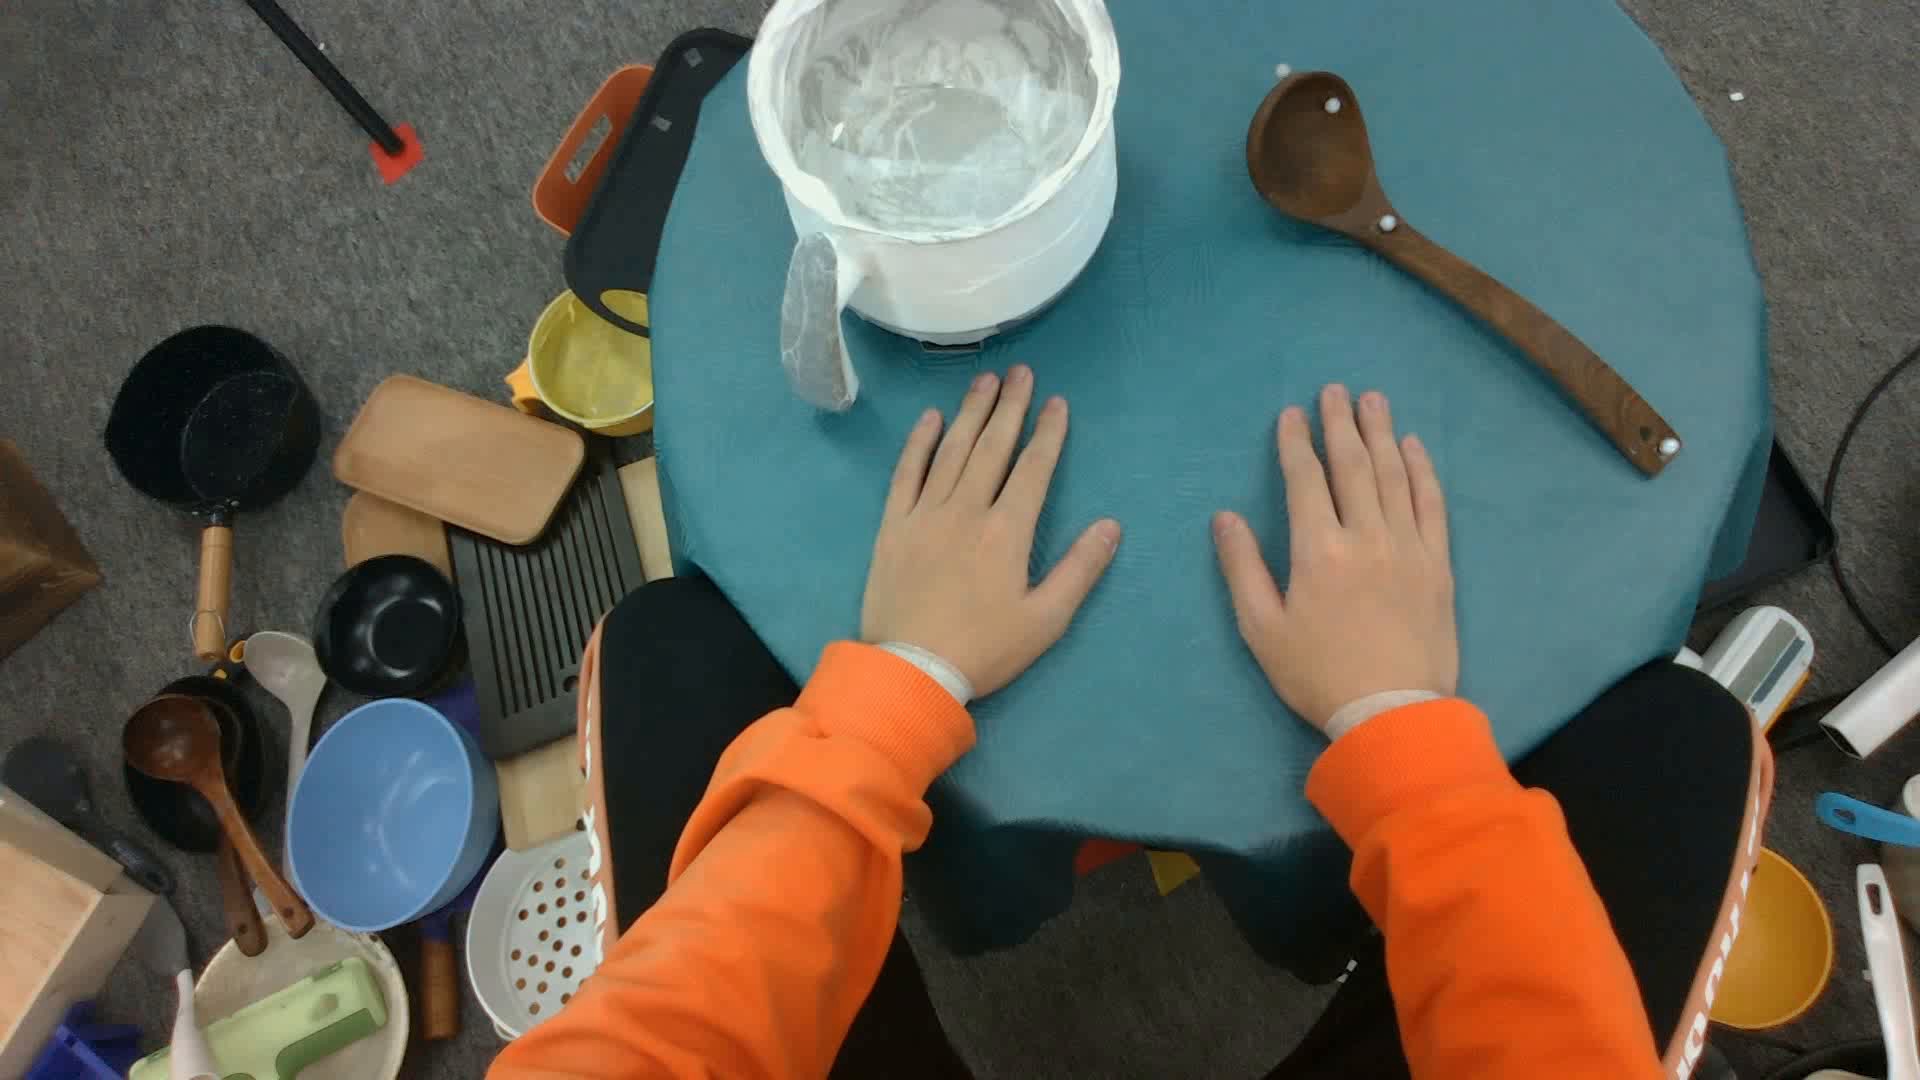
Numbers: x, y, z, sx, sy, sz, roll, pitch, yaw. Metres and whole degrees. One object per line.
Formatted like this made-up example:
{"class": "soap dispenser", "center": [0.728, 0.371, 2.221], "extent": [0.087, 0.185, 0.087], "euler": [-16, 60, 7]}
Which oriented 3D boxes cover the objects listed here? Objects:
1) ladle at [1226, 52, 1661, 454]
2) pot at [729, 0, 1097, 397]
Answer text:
{"class": "ladle", "center": [0.251, -0.148, 0.708], "extent": [0.274, 0.071, 0.076], "euler": [44, 87, 15]}
{"class": "pot", "center": [-0.031, -0.188, 0.709], "extent": [0.178, 0.136, 0.234], "euler": [27, 78, 12]}
